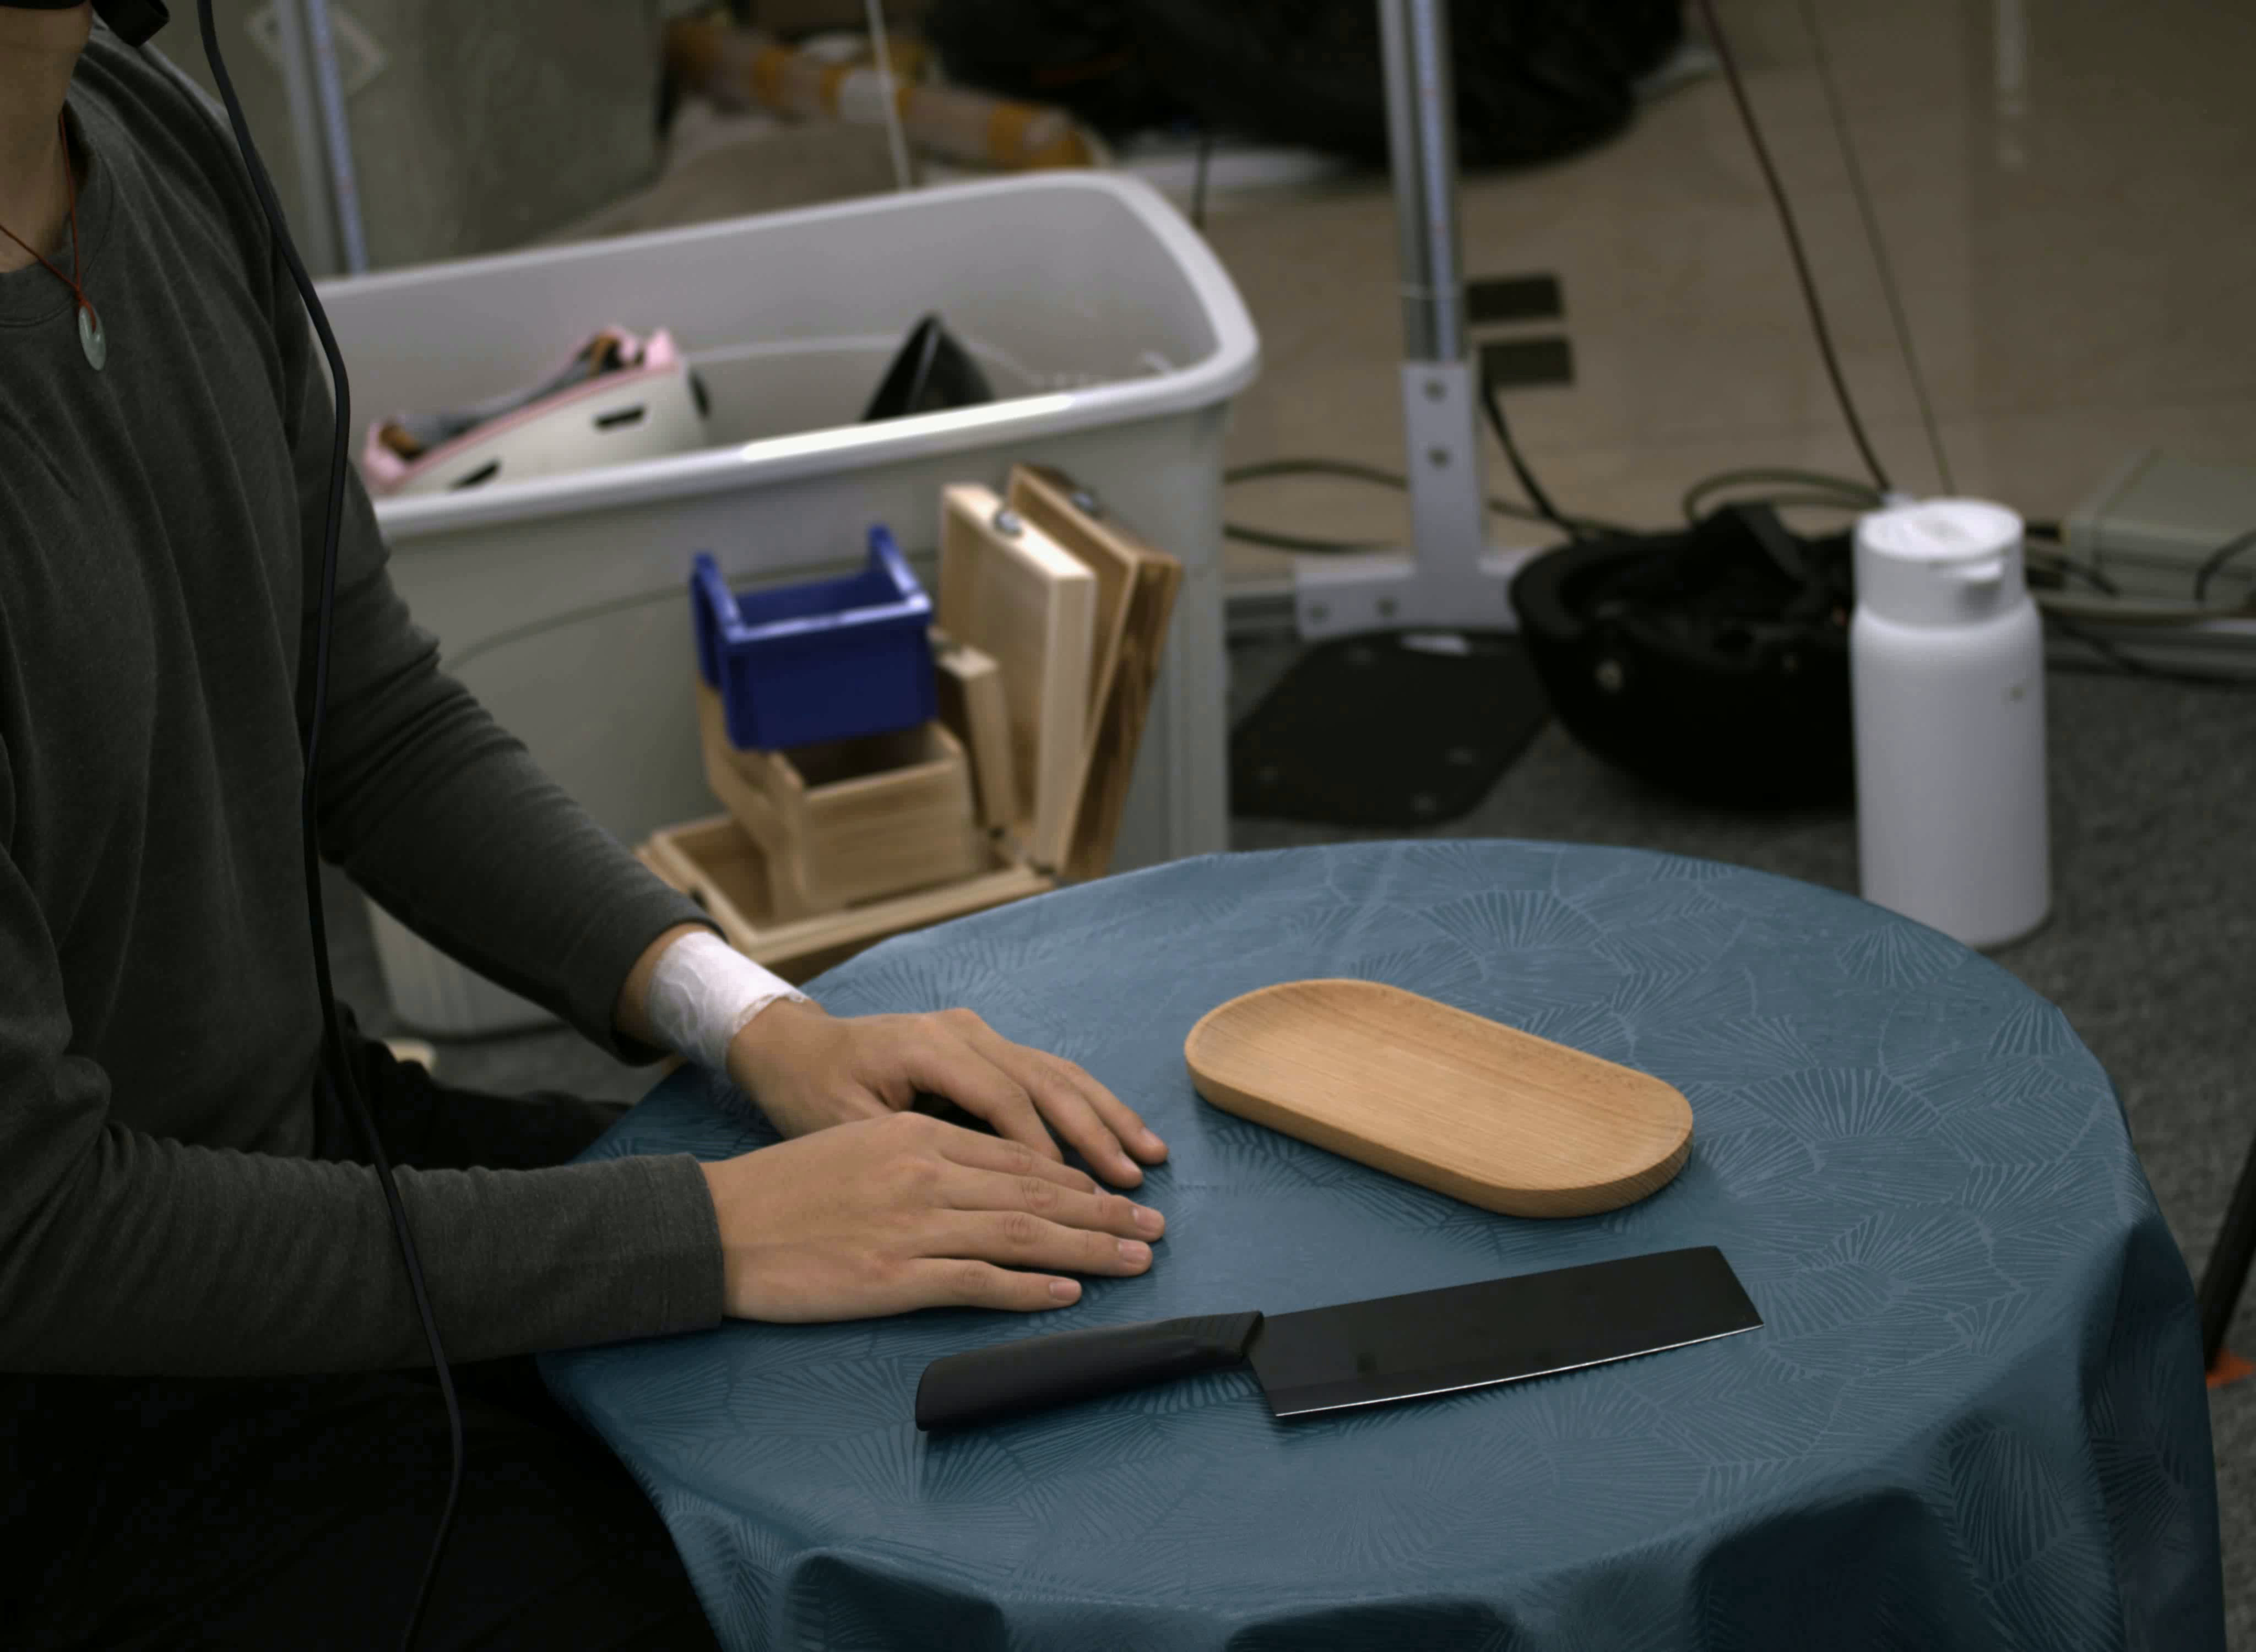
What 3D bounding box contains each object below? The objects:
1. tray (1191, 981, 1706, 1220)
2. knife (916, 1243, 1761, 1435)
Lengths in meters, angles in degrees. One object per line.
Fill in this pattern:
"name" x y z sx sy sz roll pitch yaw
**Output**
"tray" 0.121 0.104 2.177 0.229 0.020 0.101 19 37 41
"knife" 0.073 0.186 2.017 0.302 0.021 0.080 -7 26 -5
